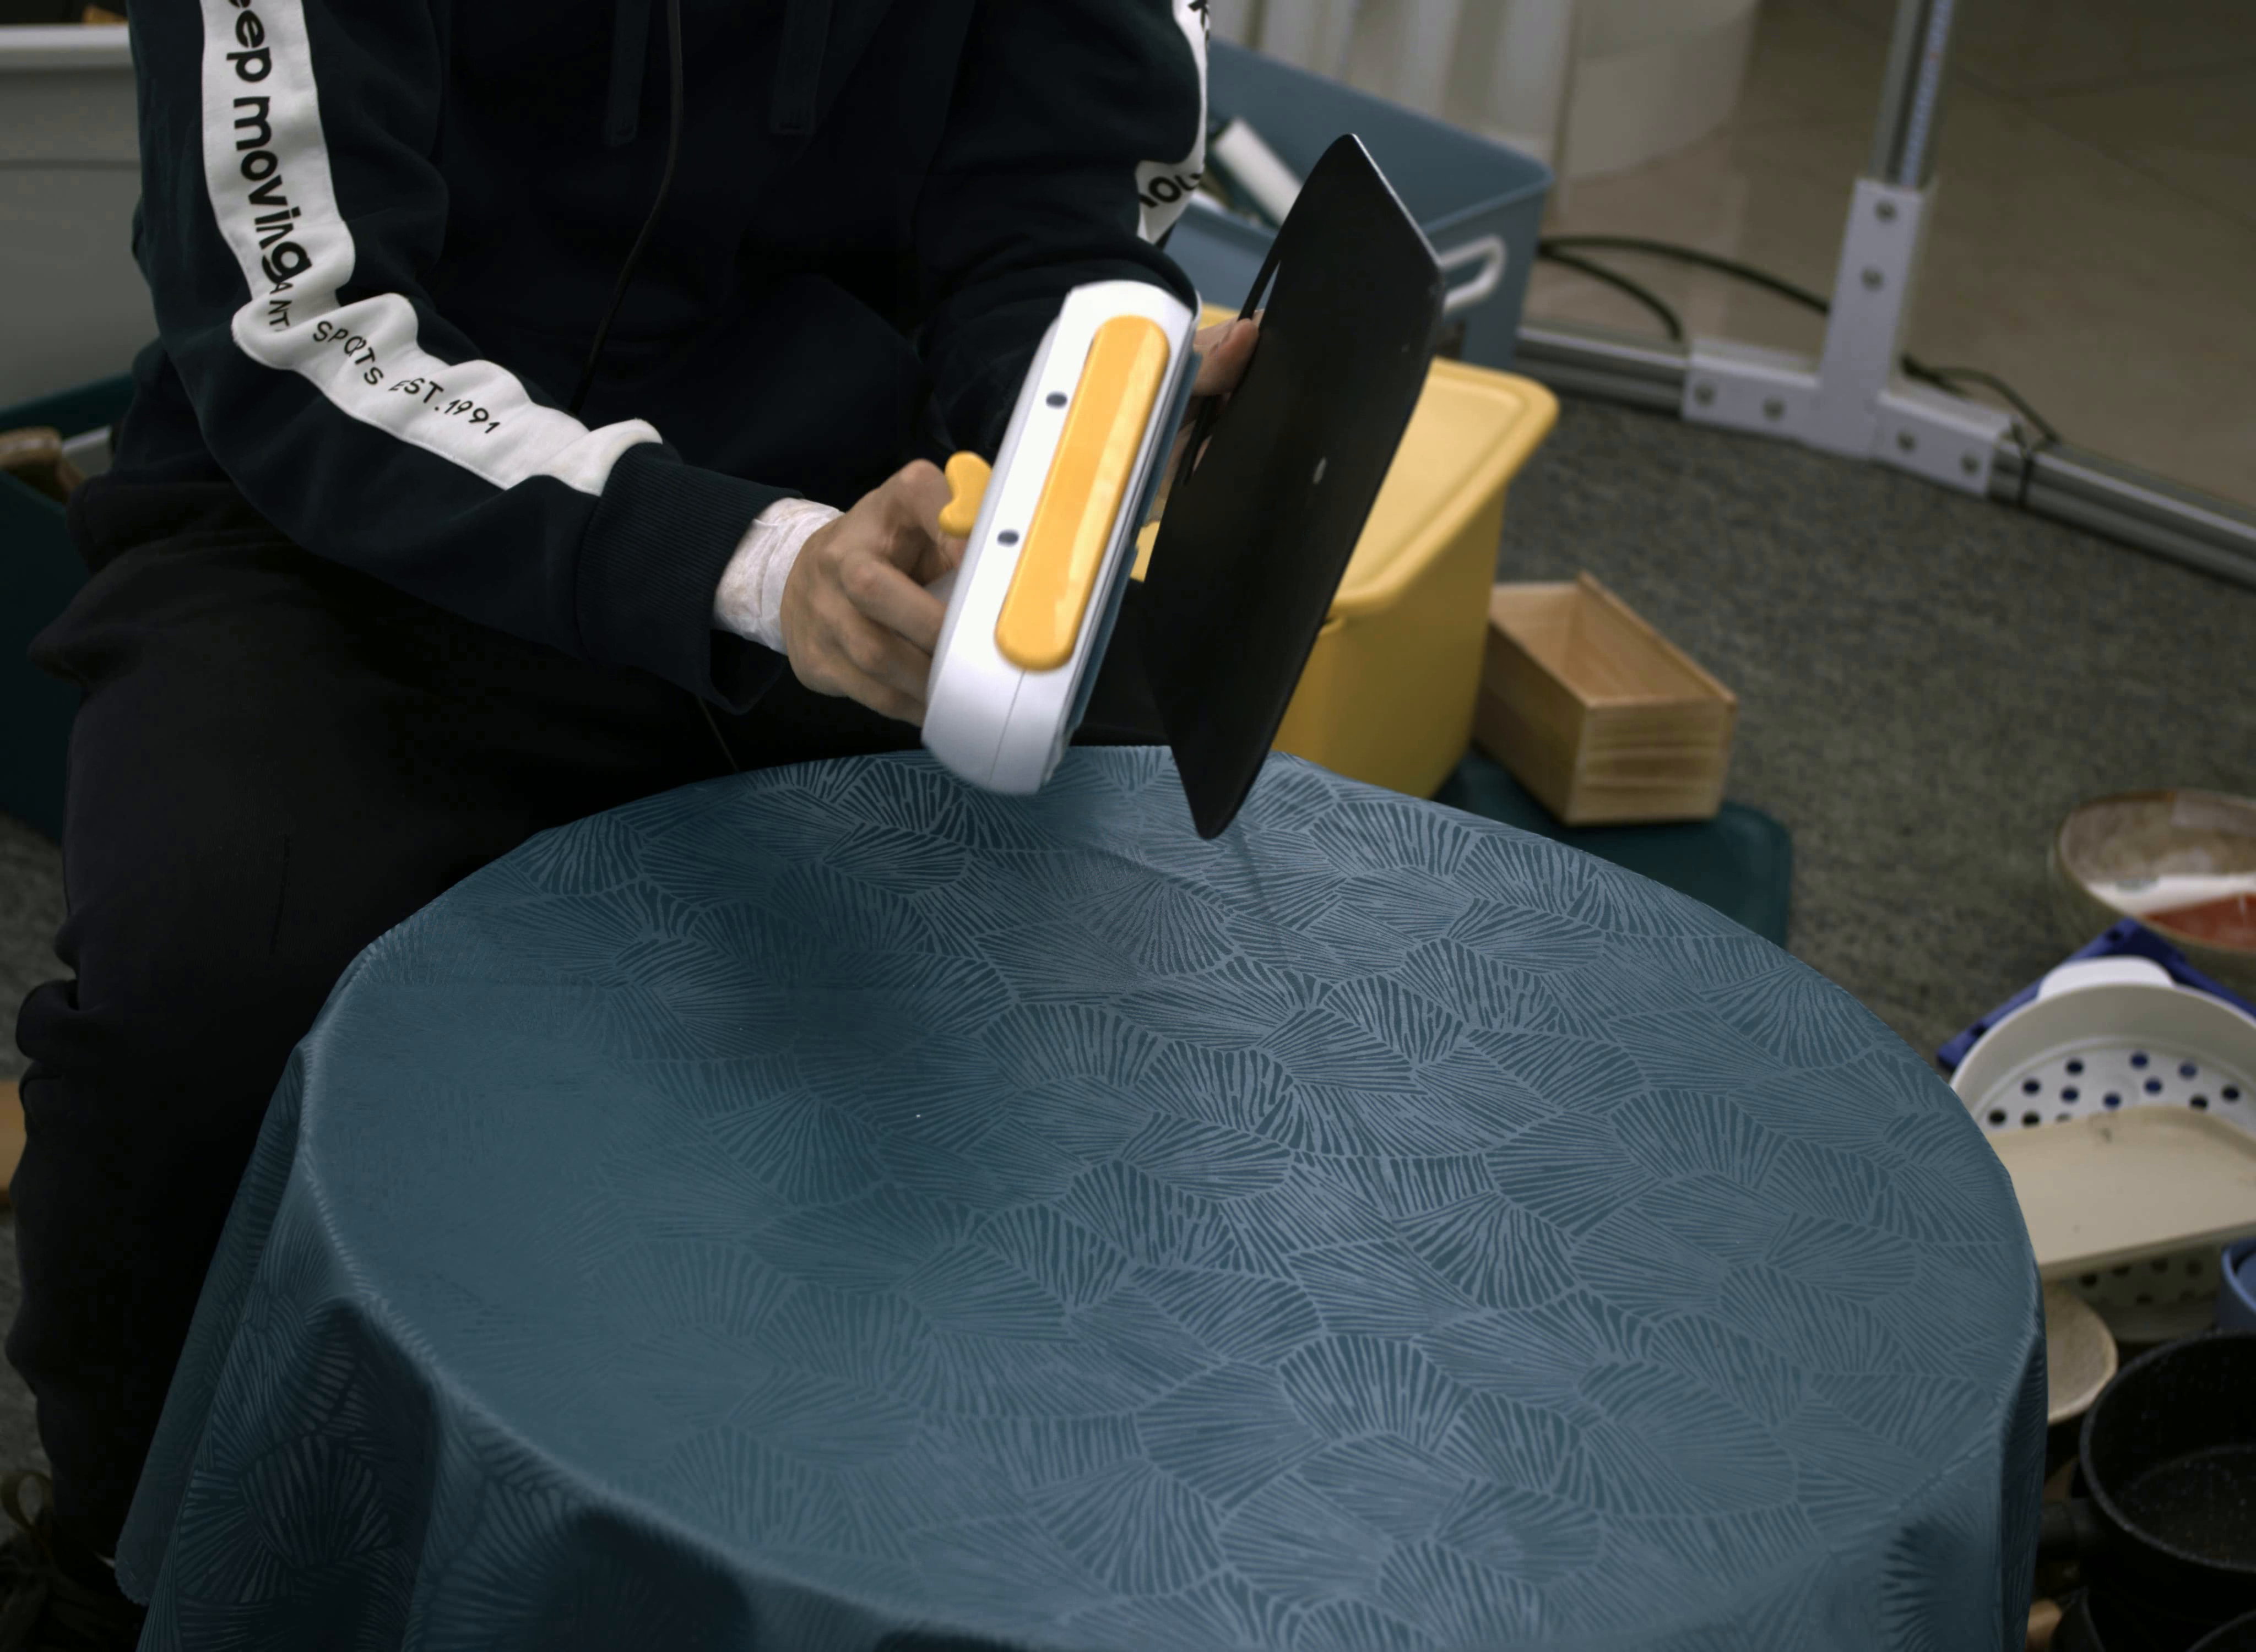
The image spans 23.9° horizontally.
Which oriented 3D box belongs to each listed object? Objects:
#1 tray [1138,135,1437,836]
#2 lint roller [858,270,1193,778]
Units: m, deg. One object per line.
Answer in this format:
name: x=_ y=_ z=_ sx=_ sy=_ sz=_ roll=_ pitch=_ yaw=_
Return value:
tray: x=0.052 y=-0.128 z=1.877 sx=0.010 sy=0.211 sz=0.327 roll=19 pitch=15 yaw=-11
lint roller: x=-0.045 y=-0.080 z=1.873 sx=0.074 sy=0.192 sz=0.194 roll=18 pitch=59 yaw=-8
